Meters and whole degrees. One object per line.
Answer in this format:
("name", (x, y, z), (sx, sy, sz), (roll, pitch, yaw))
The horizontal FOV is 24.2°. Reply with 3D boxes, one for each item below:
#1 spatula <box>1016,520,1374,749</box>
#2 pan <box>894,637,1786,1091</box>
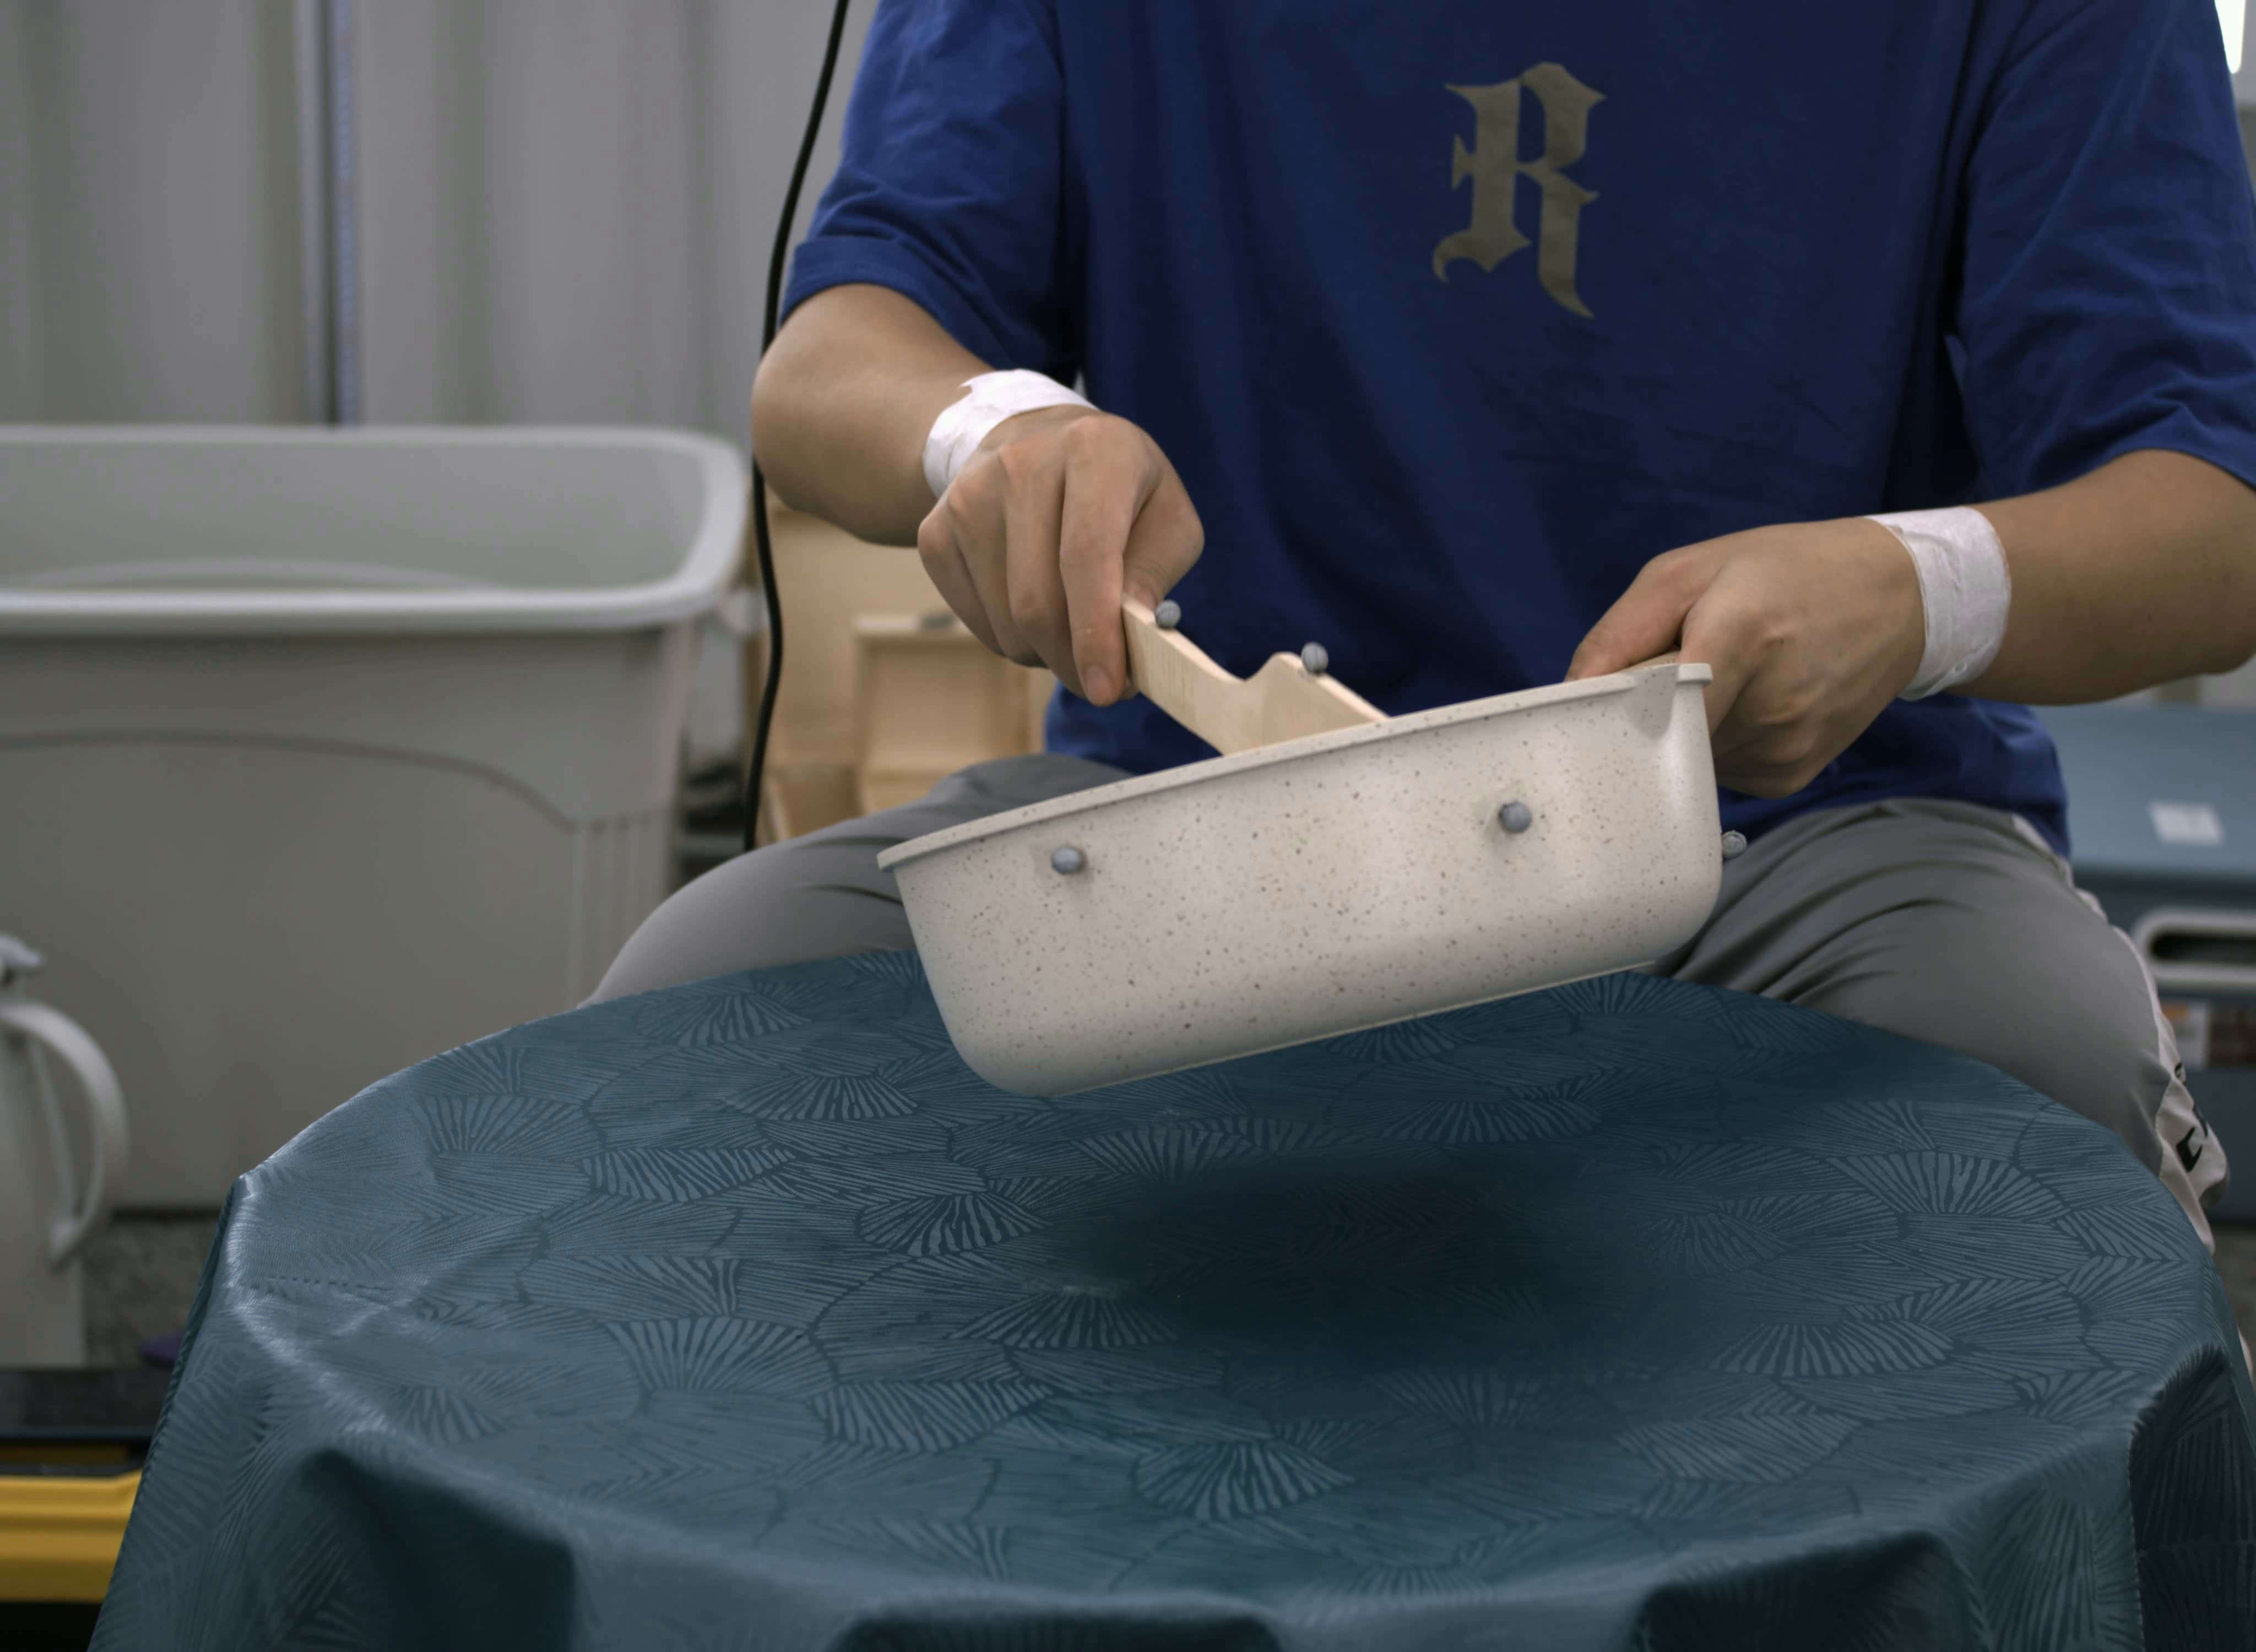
("spatula", (0.021, -0.045, 1.638), (0.011, 0.073, 0.289), (-13, 24, -20))
("pan", (0.110, 0.002, 1.616), (0.261, 0.102, 0.437), (-16, -4, 33))
